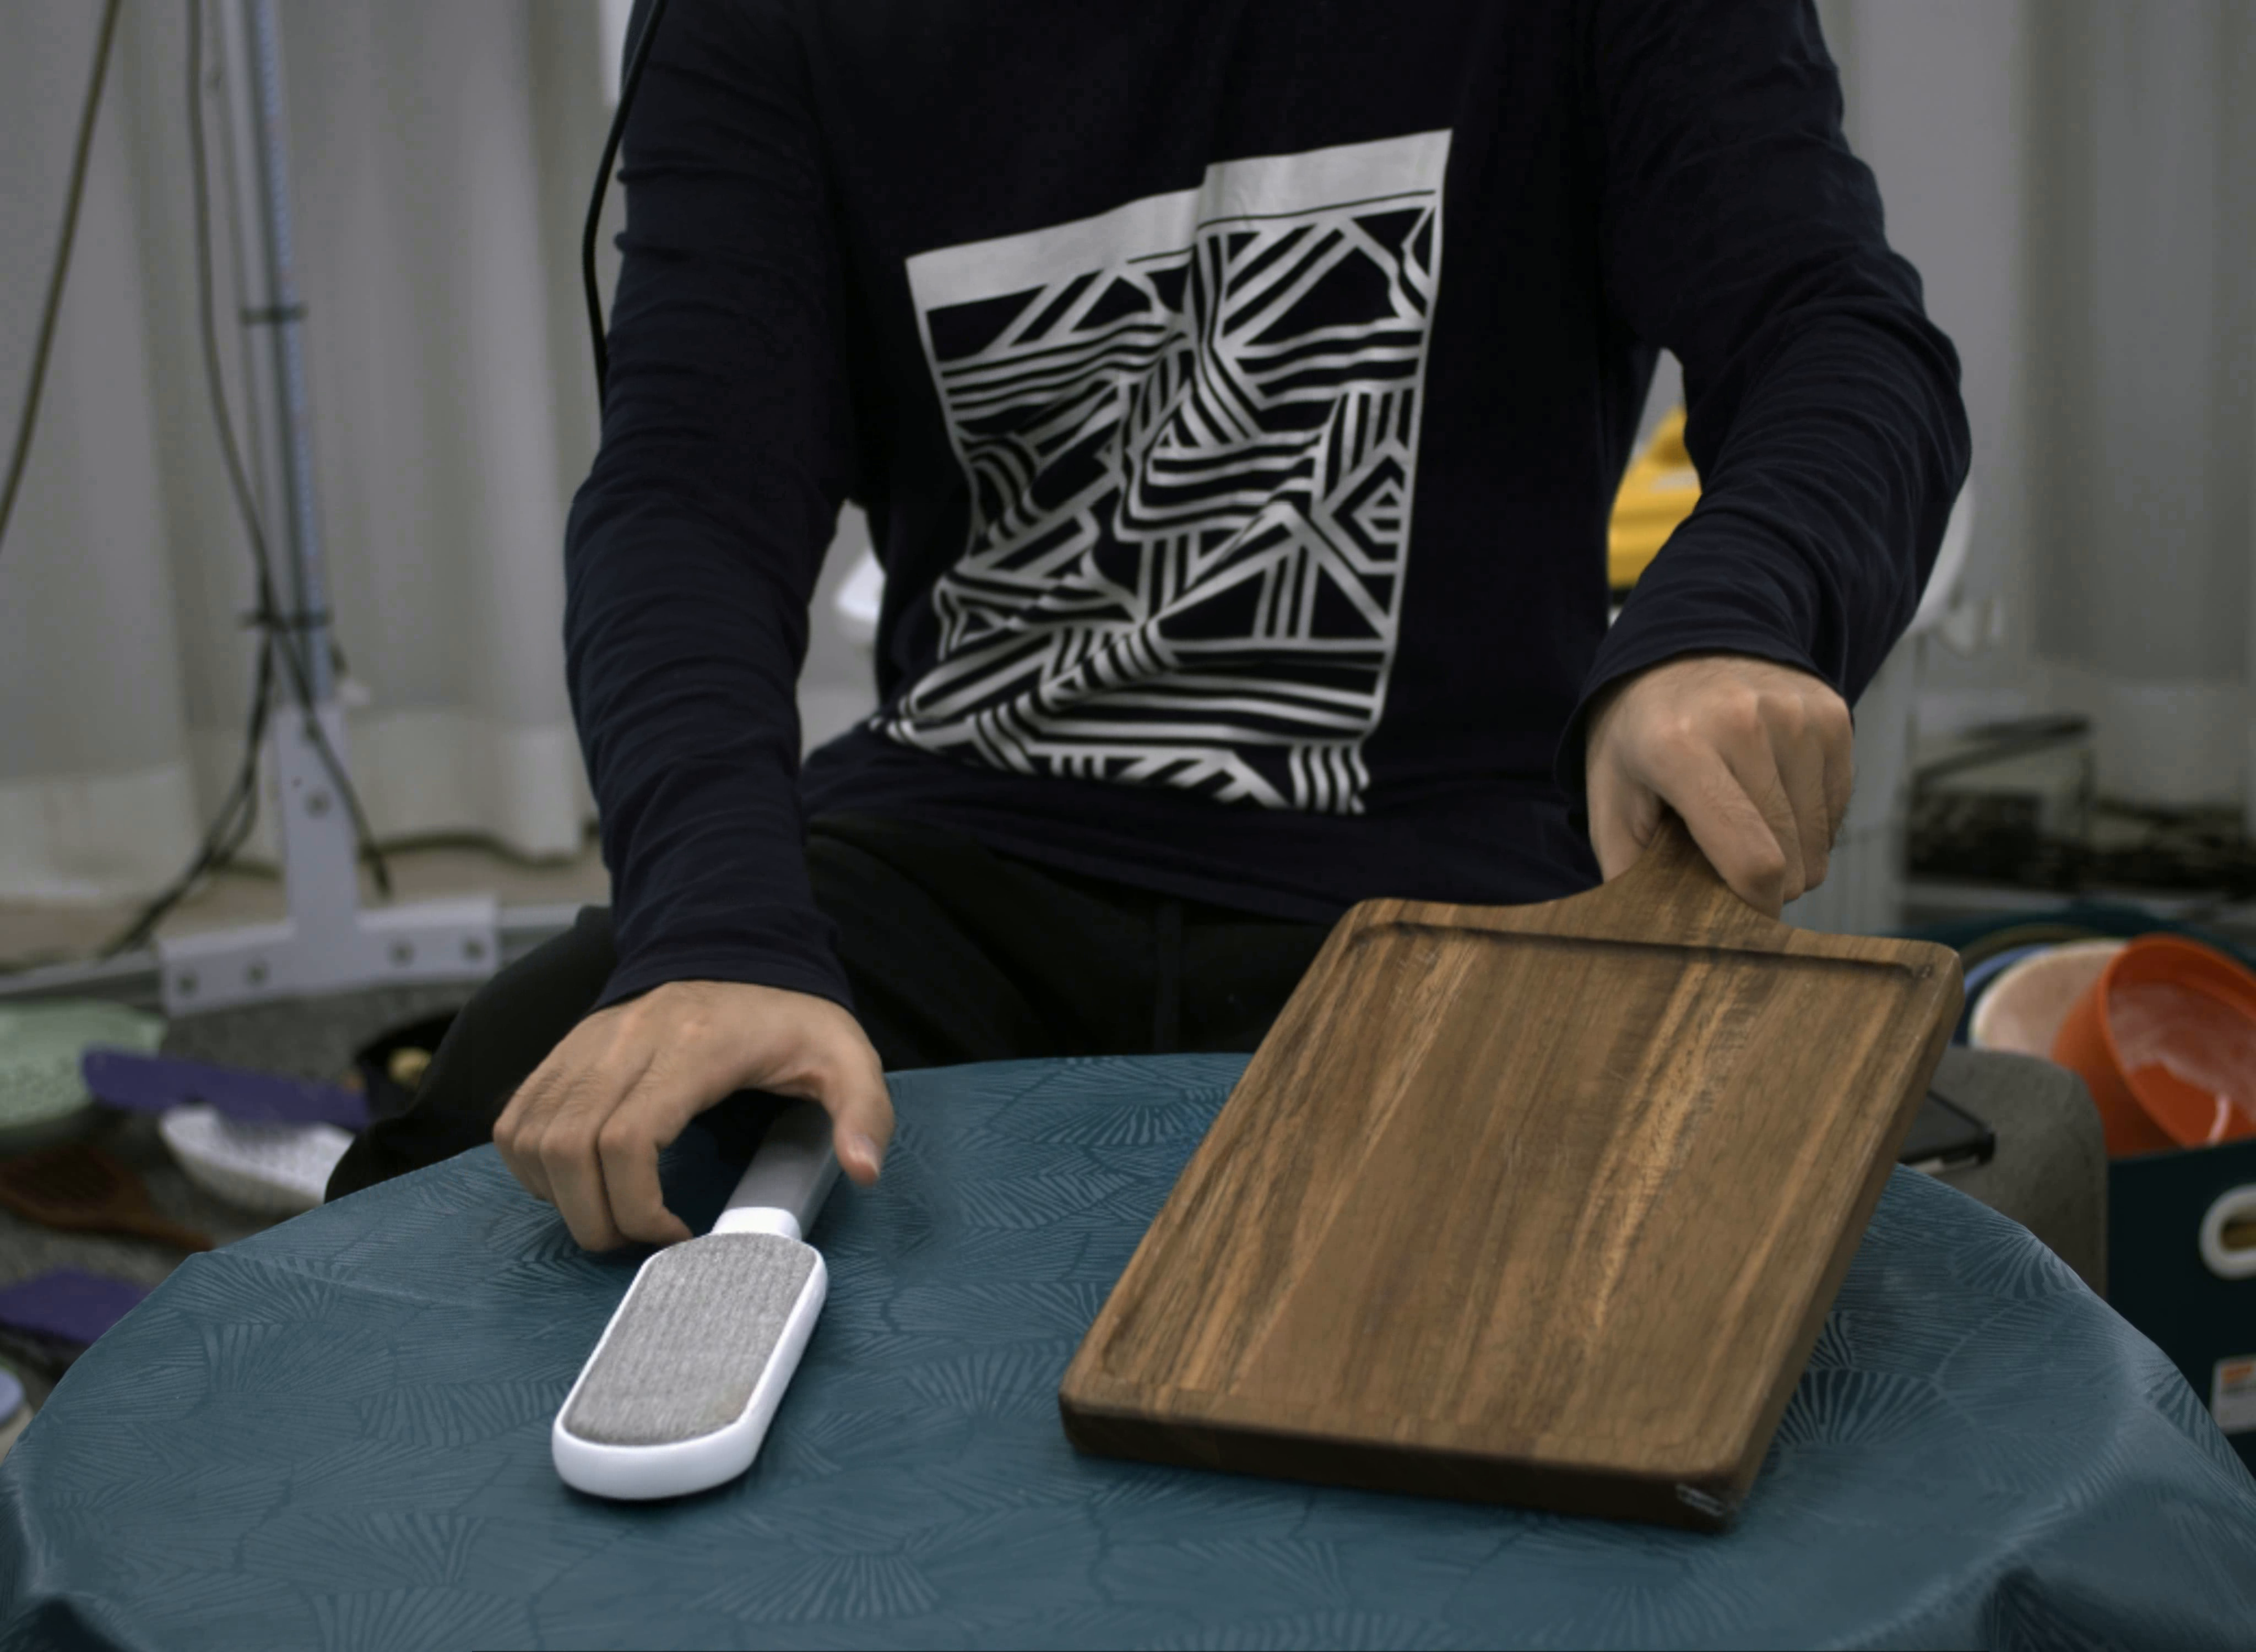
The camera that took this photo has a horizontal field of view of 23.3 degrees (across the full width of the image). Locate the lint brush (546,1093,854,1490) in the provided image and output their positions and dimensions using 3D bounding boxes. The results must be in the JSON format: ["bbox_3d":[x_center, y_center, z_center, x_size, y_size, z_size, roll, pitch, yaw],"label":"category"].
[{"bbox_3d":[-0.116,0.133,1.617,0.060,0.021,0.310,-6,14,8],"label":"lint brush"}]

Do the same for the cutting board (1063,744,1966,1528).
[{"bbox_3d":[0.131,0.077,1.588,0.201,0.023,0.355,3,34,23],"label":"cutting board"}]
